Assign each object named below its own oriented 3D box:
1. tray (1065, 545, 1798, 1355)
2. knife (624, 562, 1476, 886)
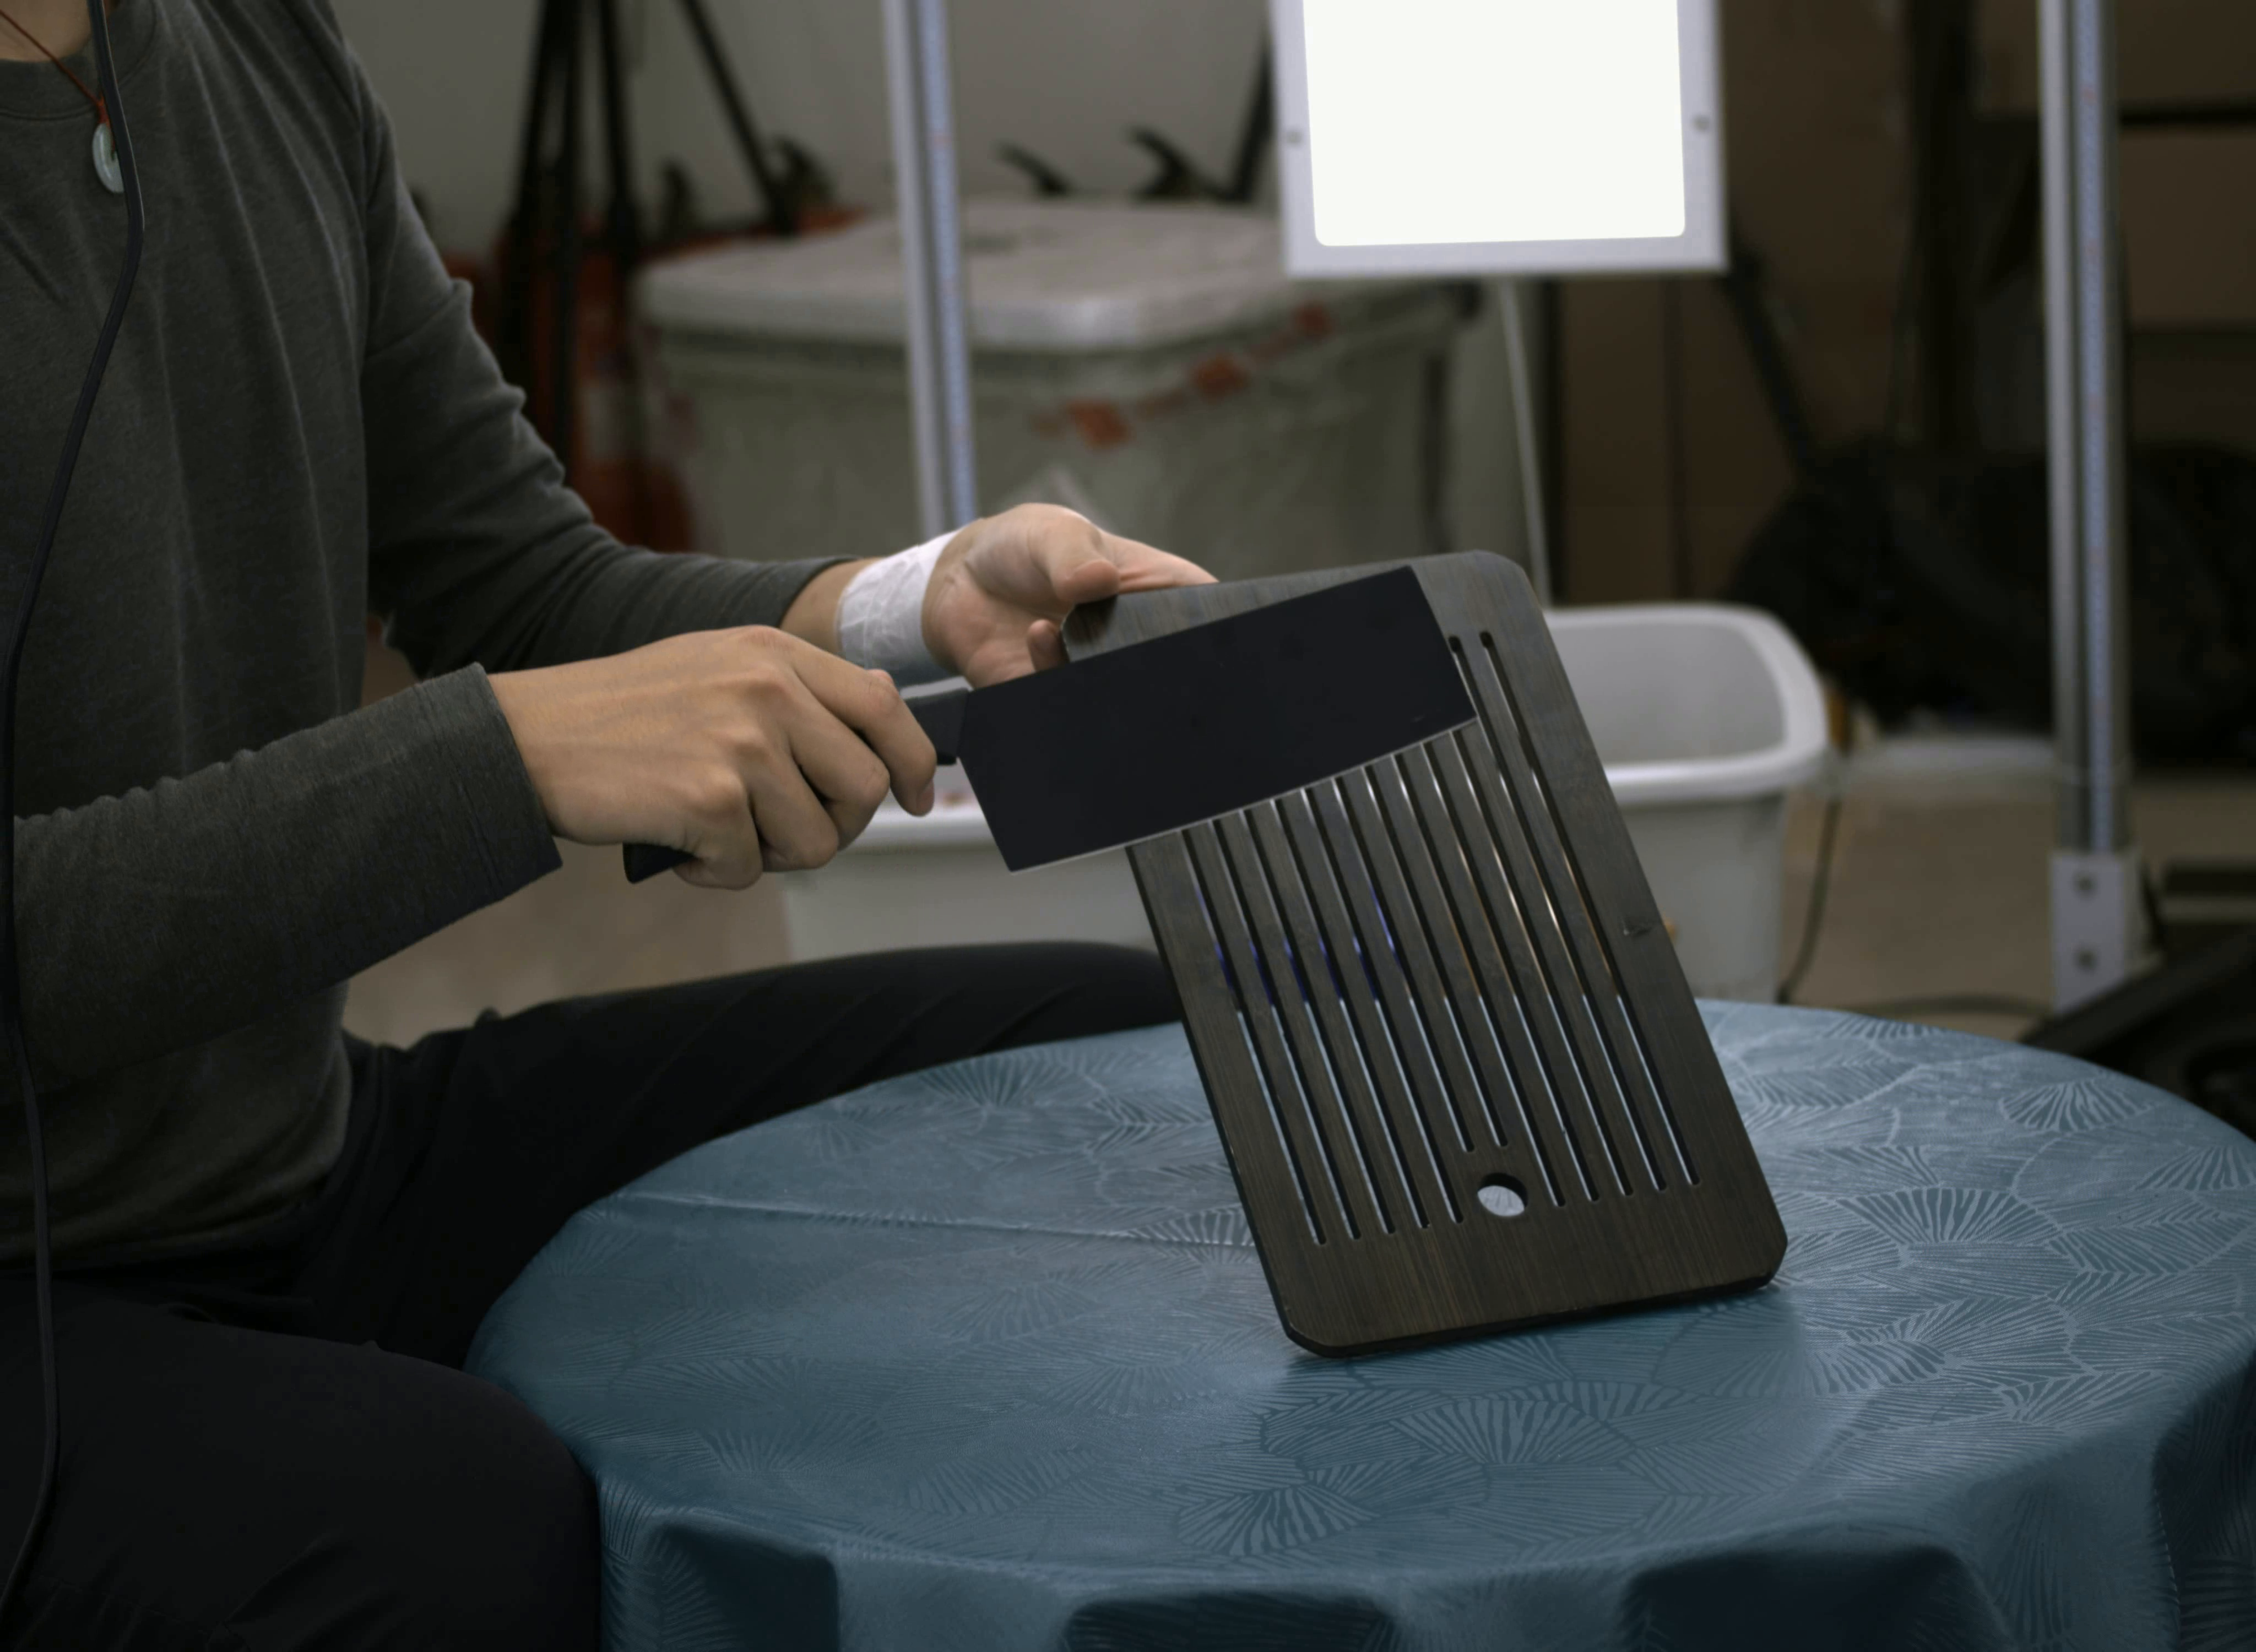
[{"bbox_3d":[0.096,0.036,1.815,0.168,0.019,0.307,-9,54,-12],"label":"tray"},{"bbox_3d":[-0.025,-0.025,1.823,0.297,0.081,0.021,-13,-20,-17],"label":"knife"}]
